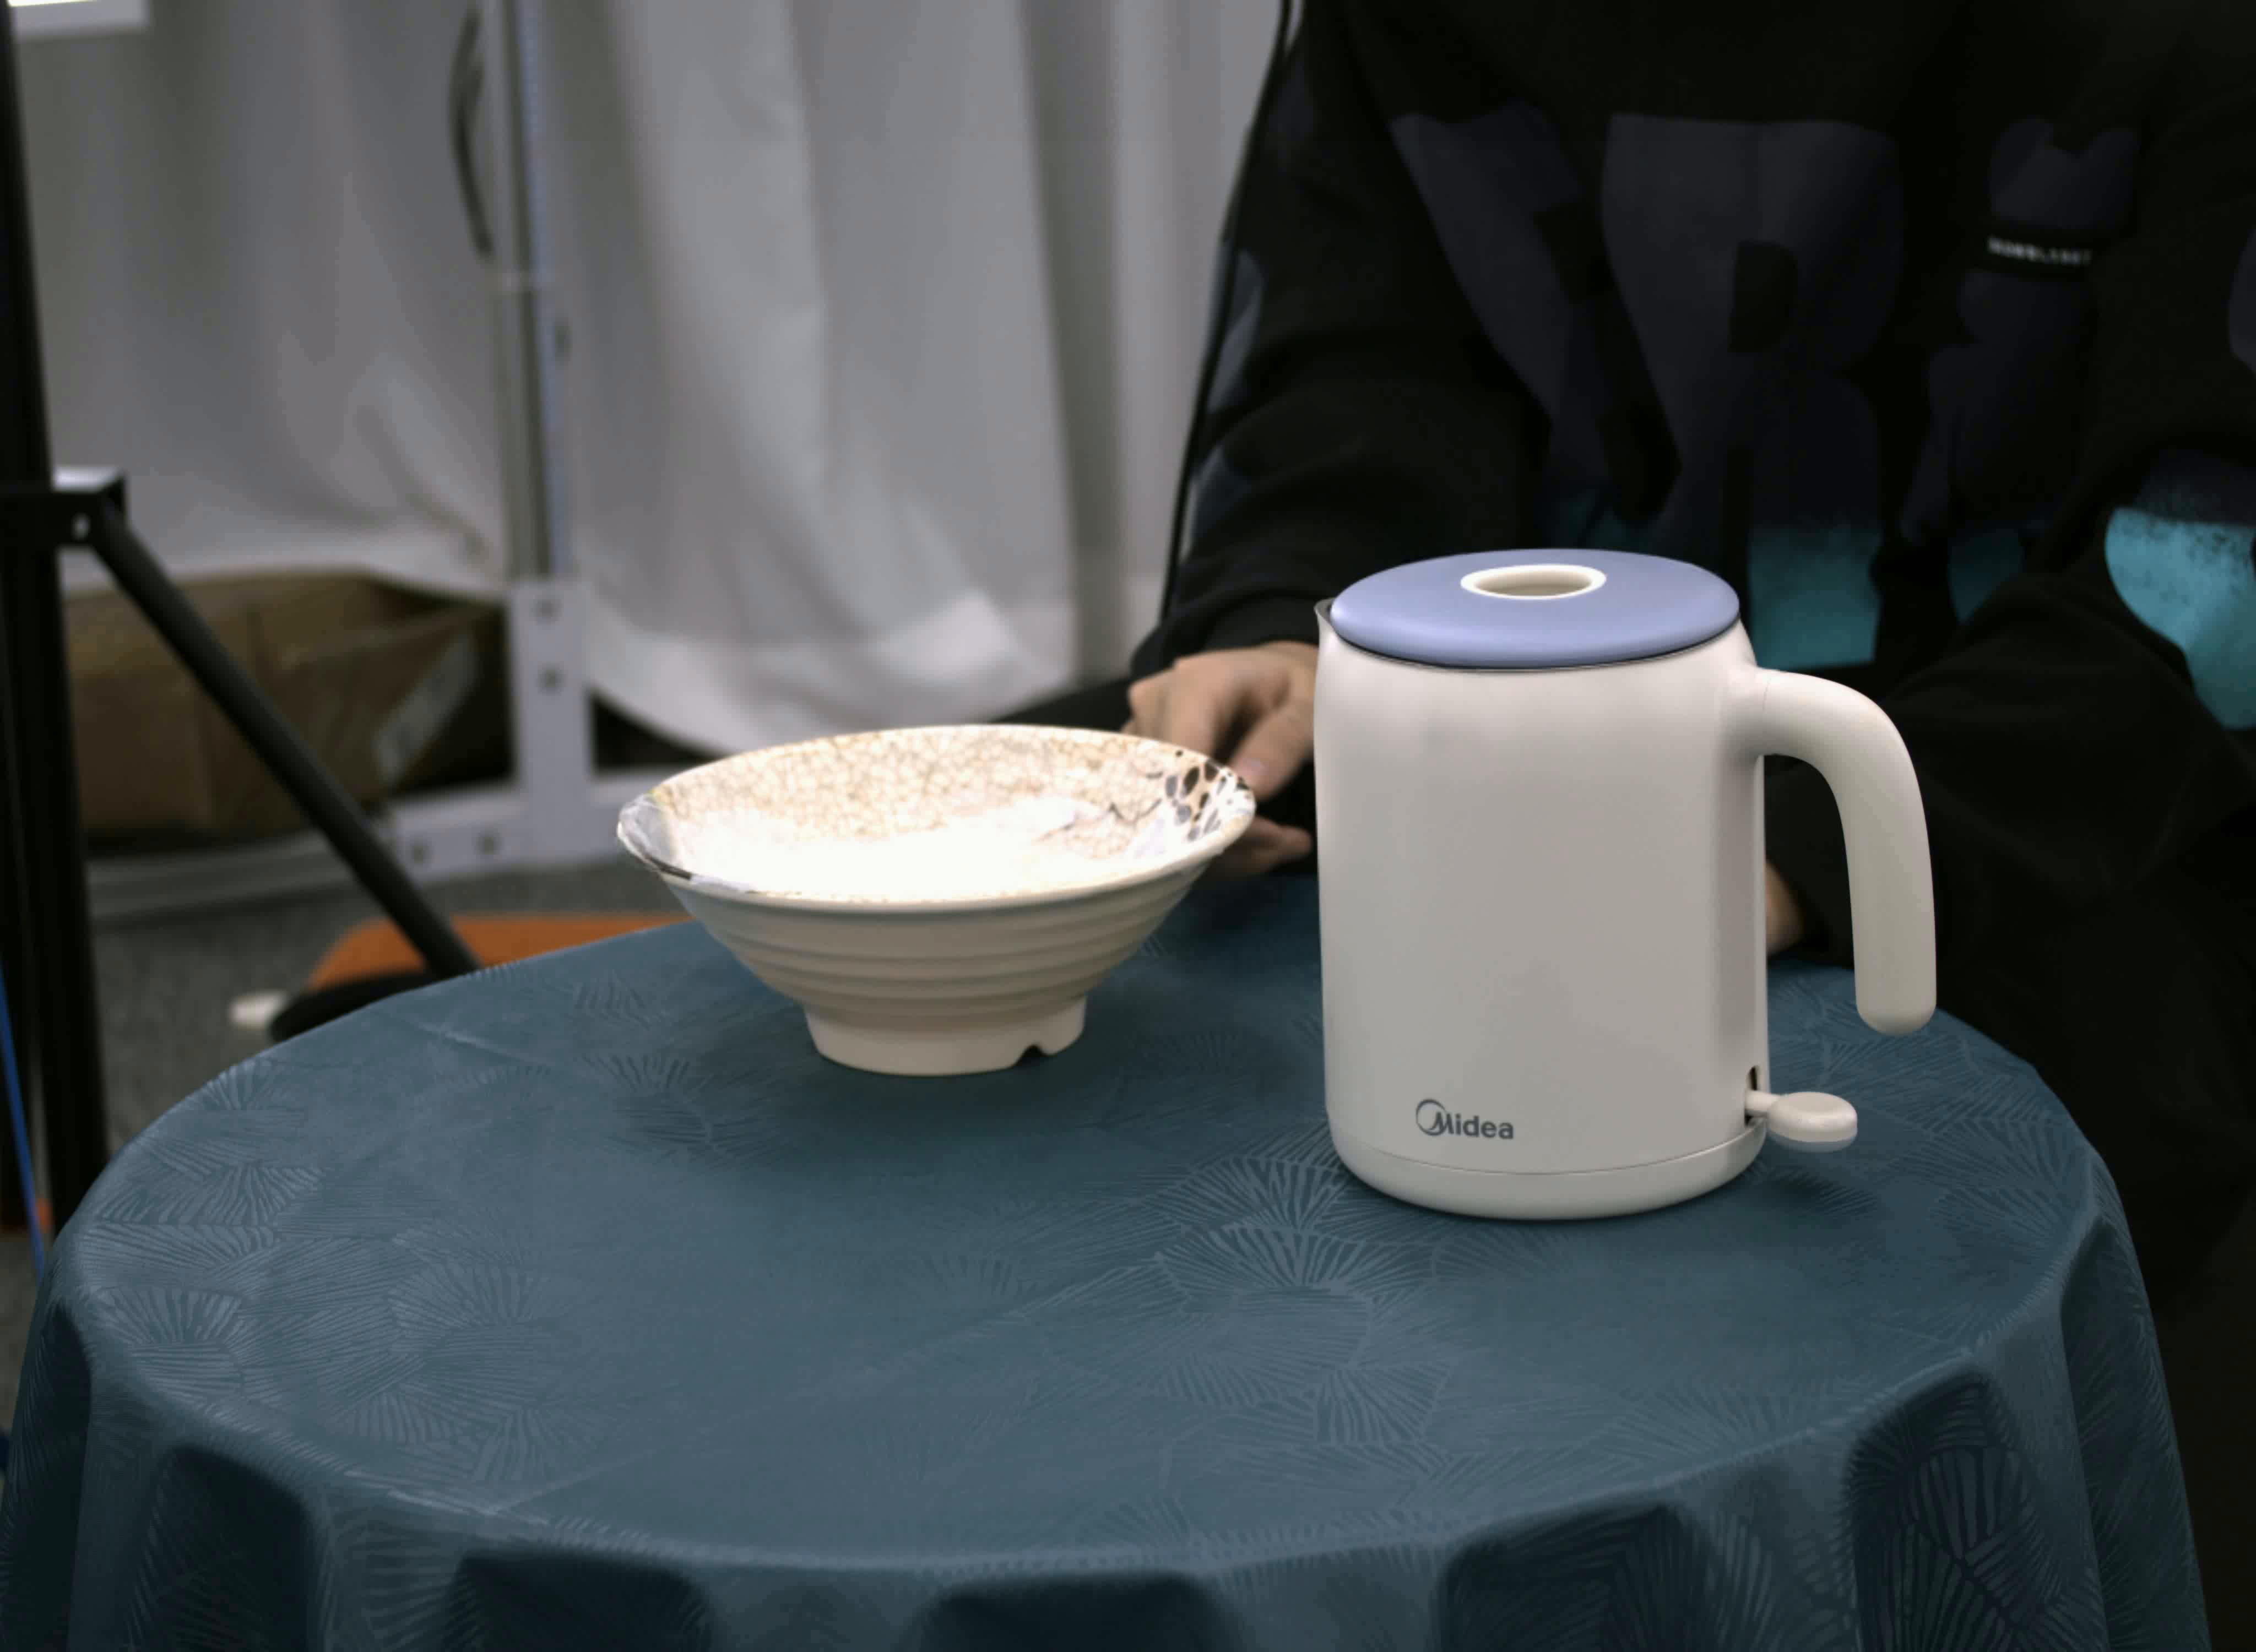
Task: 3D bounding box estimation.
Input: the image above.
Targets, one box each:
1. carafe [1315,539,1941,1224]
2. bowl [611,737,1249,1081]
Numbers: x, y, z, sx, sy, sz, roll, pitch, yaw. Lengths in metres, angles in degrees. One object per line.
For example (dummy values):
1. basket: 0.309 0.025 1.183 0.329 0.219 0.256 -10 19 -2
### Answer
1. carafe: 0.143 0.018 1.539 0.194 0.182 0.130 7 19 25
2. bowl: -0.062 0.032 1.700 0.203 0.078 0.205 -1 14 -1
